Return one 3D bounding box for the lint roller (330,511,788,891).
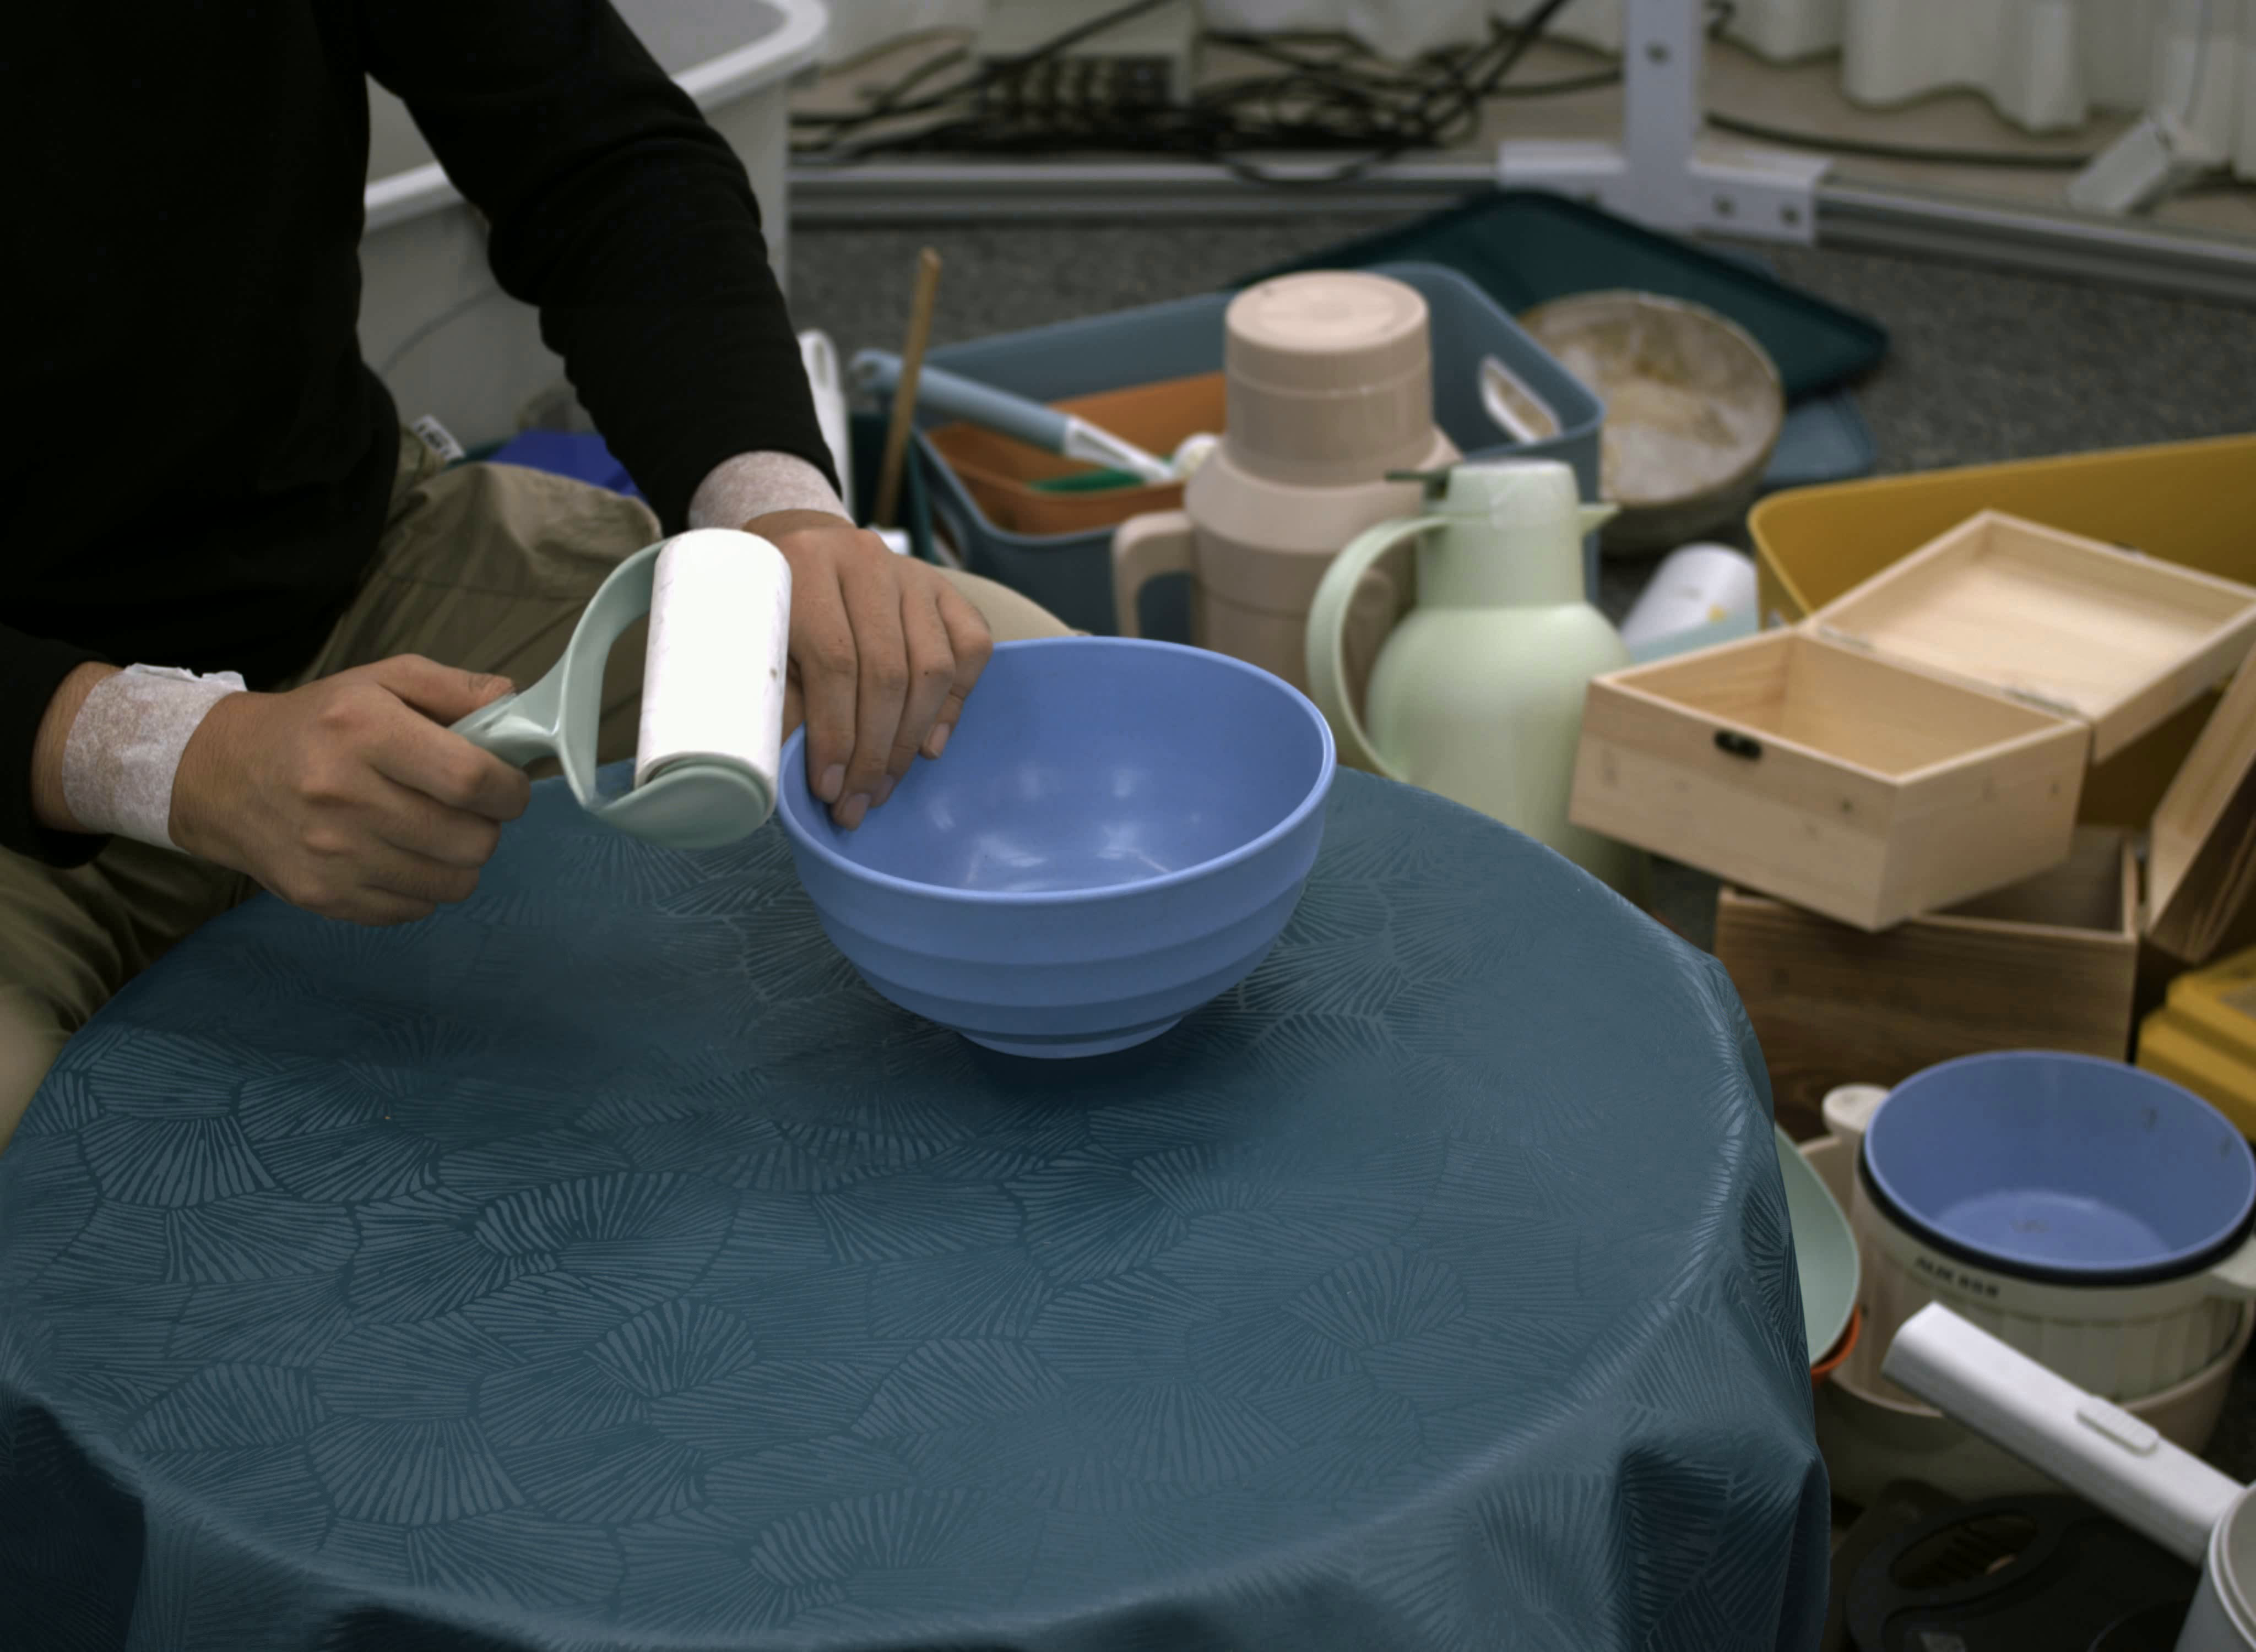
[{"bbox_3d":[-0.201,-0.029,1.919,0.195,0.048,0.119,-21,46,23],"label":"lint roller"}]

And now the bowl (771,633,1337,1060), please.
[{"bbox_3d":[-0.023,0.018,1.961,0.195,0.094,0.199,-3,28,2],"label":"bowl"}]
